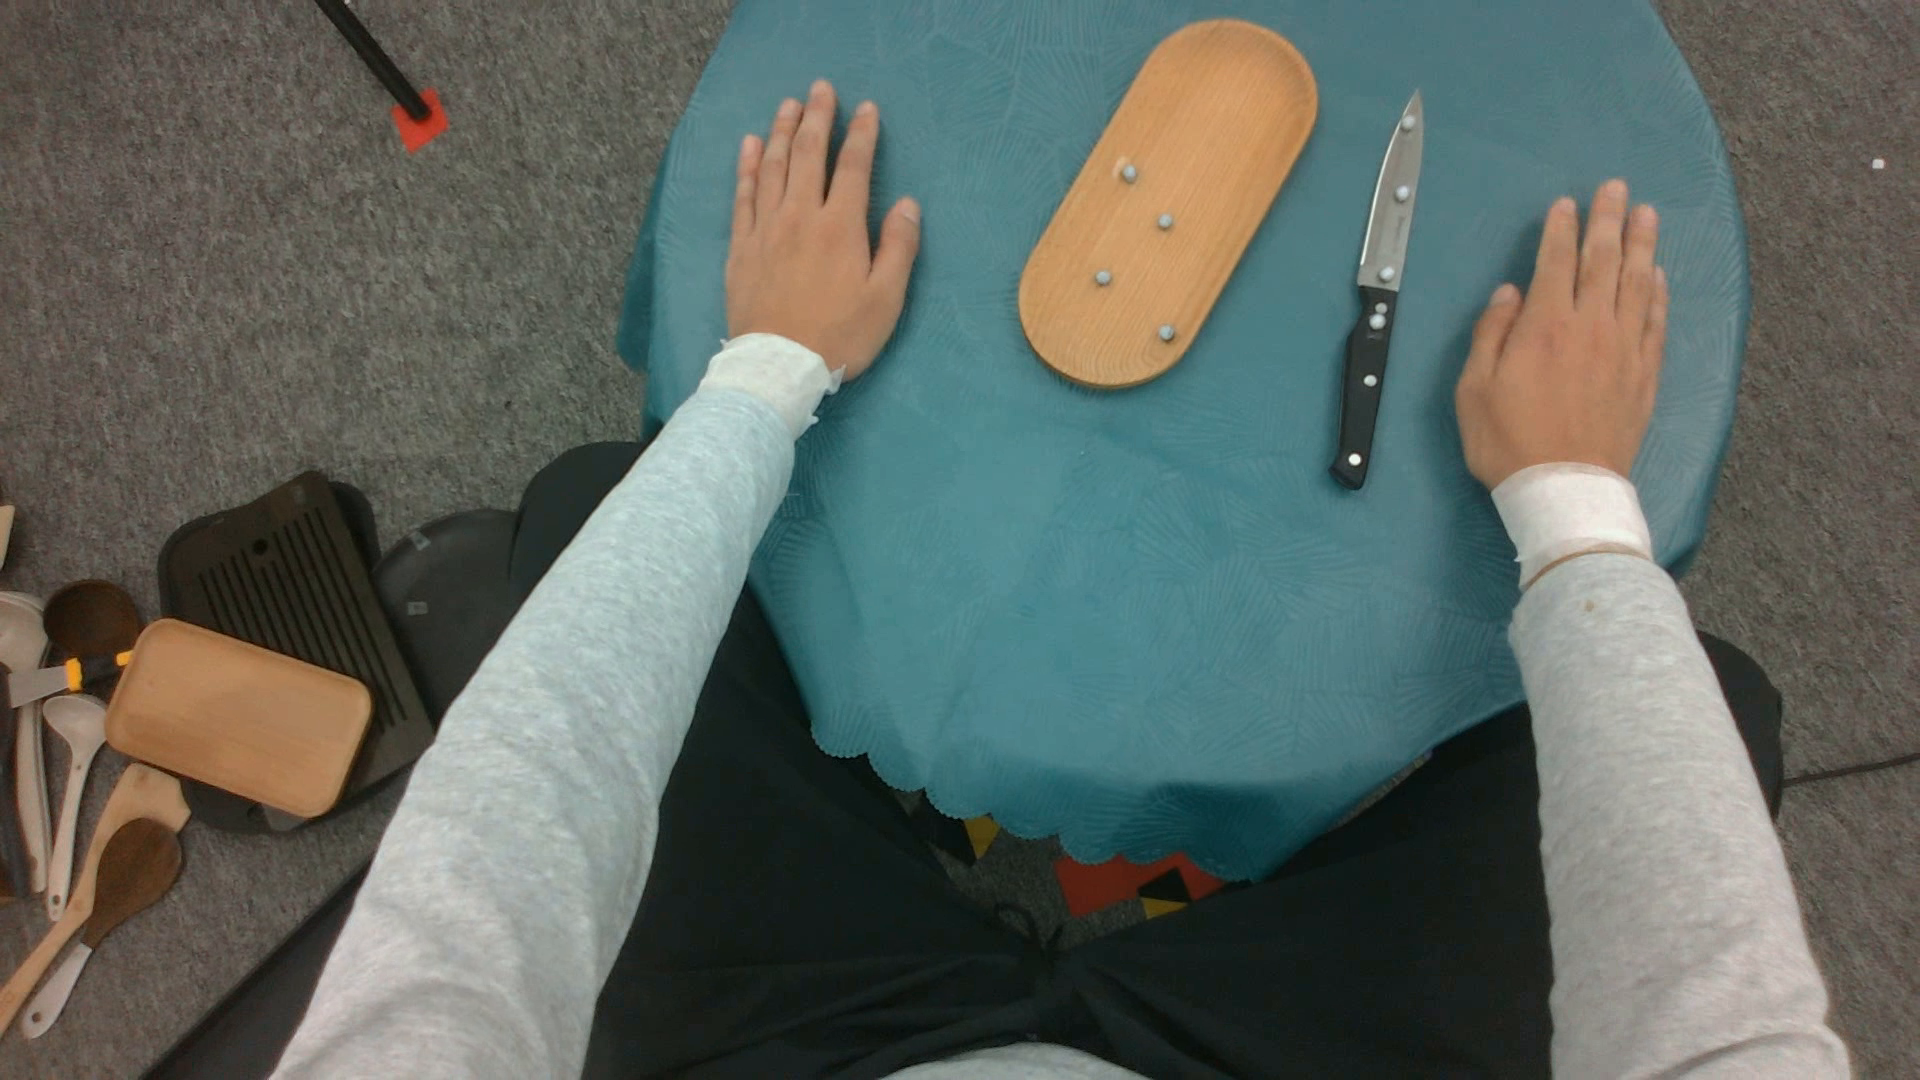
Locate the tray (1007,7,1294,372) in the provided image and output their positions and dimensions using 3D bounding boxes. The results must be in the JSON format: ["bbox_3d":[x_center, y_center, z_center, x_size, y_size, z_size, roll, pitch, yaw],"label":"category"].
[{"bbox_3d":[0.106,-0.196,0.763,0.101,0.020,0.231,26,78,8],"label":"tray"}]

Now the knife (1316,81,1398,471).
[{"bbox_3d":[0.220,-0.148,0.747,0.024,0.016,0.239,10,74,8],"label":"knife"}]
